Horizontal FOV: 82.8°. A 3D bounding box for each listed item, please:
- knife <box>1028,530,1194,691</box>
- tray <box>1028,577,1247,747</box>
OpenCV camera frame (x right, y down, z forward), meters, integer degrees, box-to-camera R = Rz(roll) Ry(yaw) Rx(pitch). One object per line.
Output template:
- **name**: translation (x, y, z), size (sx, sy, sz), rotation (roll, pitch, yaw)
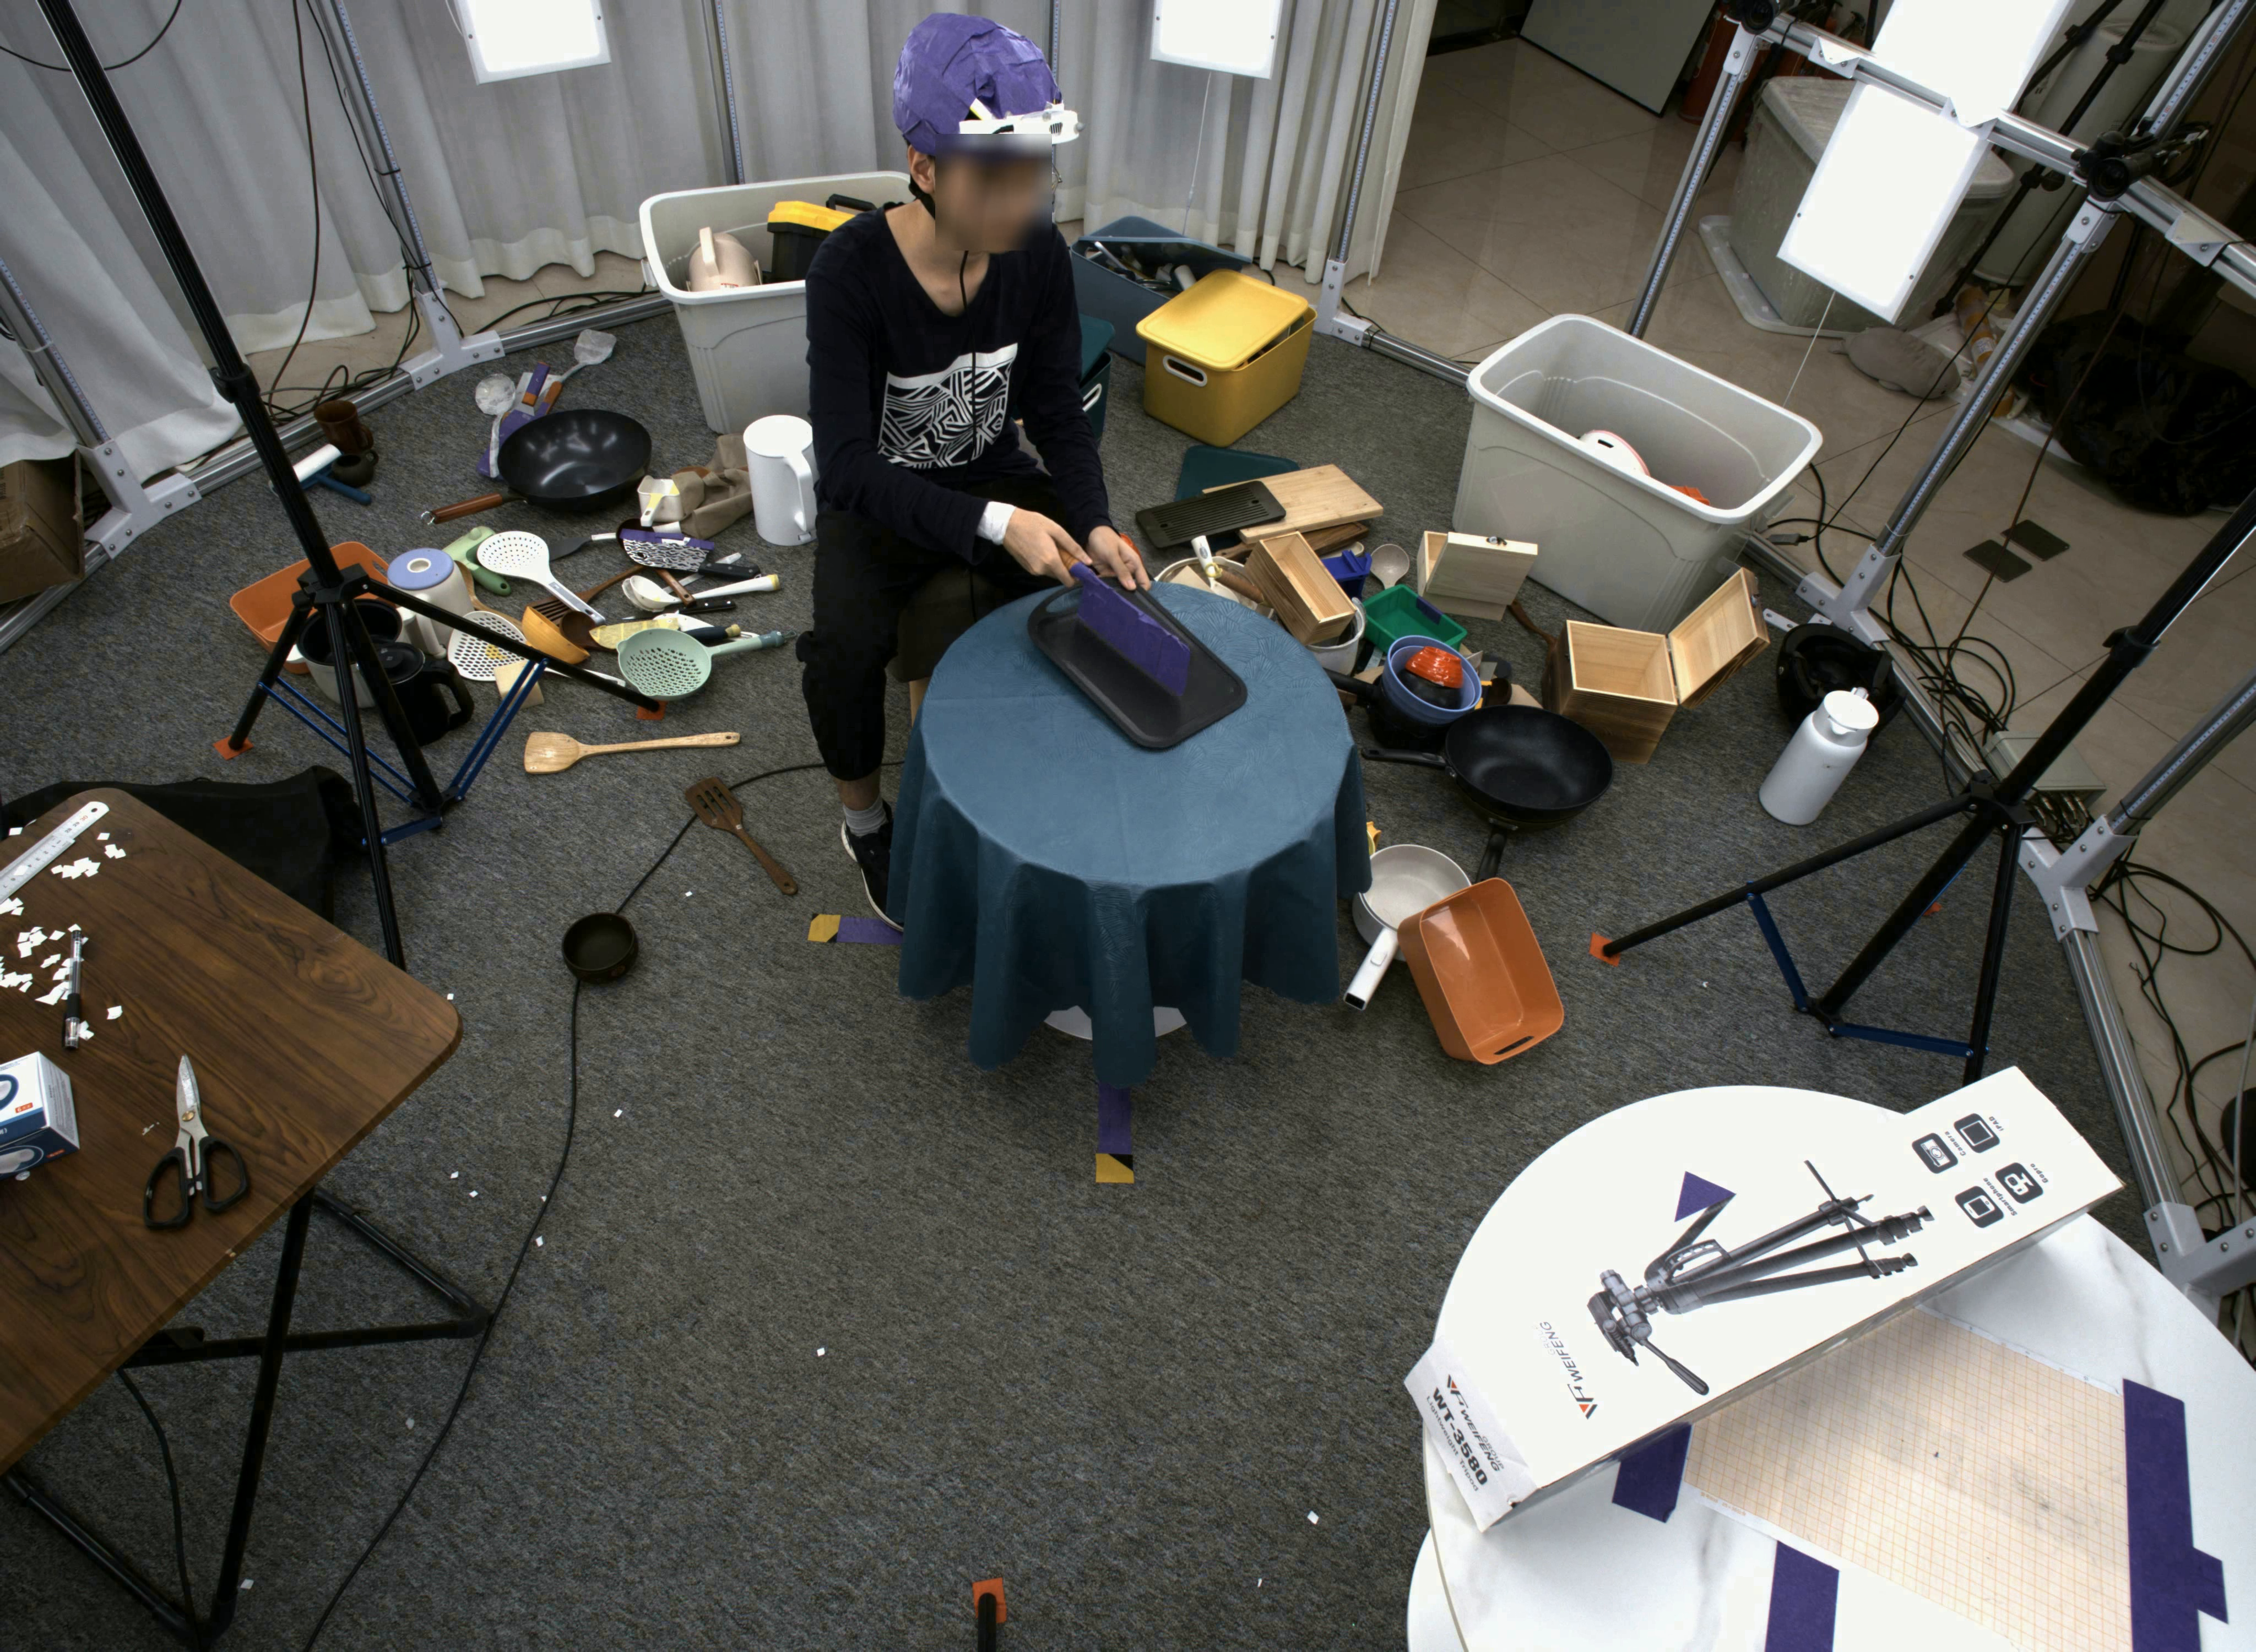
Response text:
- **knife**: translation (-0.030, -0.304, 1.833), size (0.032, 0.101, 0.320), rotation (-33, 63, -33)
- **tray**: translation (0.007, -0.249, 1.859), size (0.212, 0.009, 0.331), rotation (-29, 62, -28)
